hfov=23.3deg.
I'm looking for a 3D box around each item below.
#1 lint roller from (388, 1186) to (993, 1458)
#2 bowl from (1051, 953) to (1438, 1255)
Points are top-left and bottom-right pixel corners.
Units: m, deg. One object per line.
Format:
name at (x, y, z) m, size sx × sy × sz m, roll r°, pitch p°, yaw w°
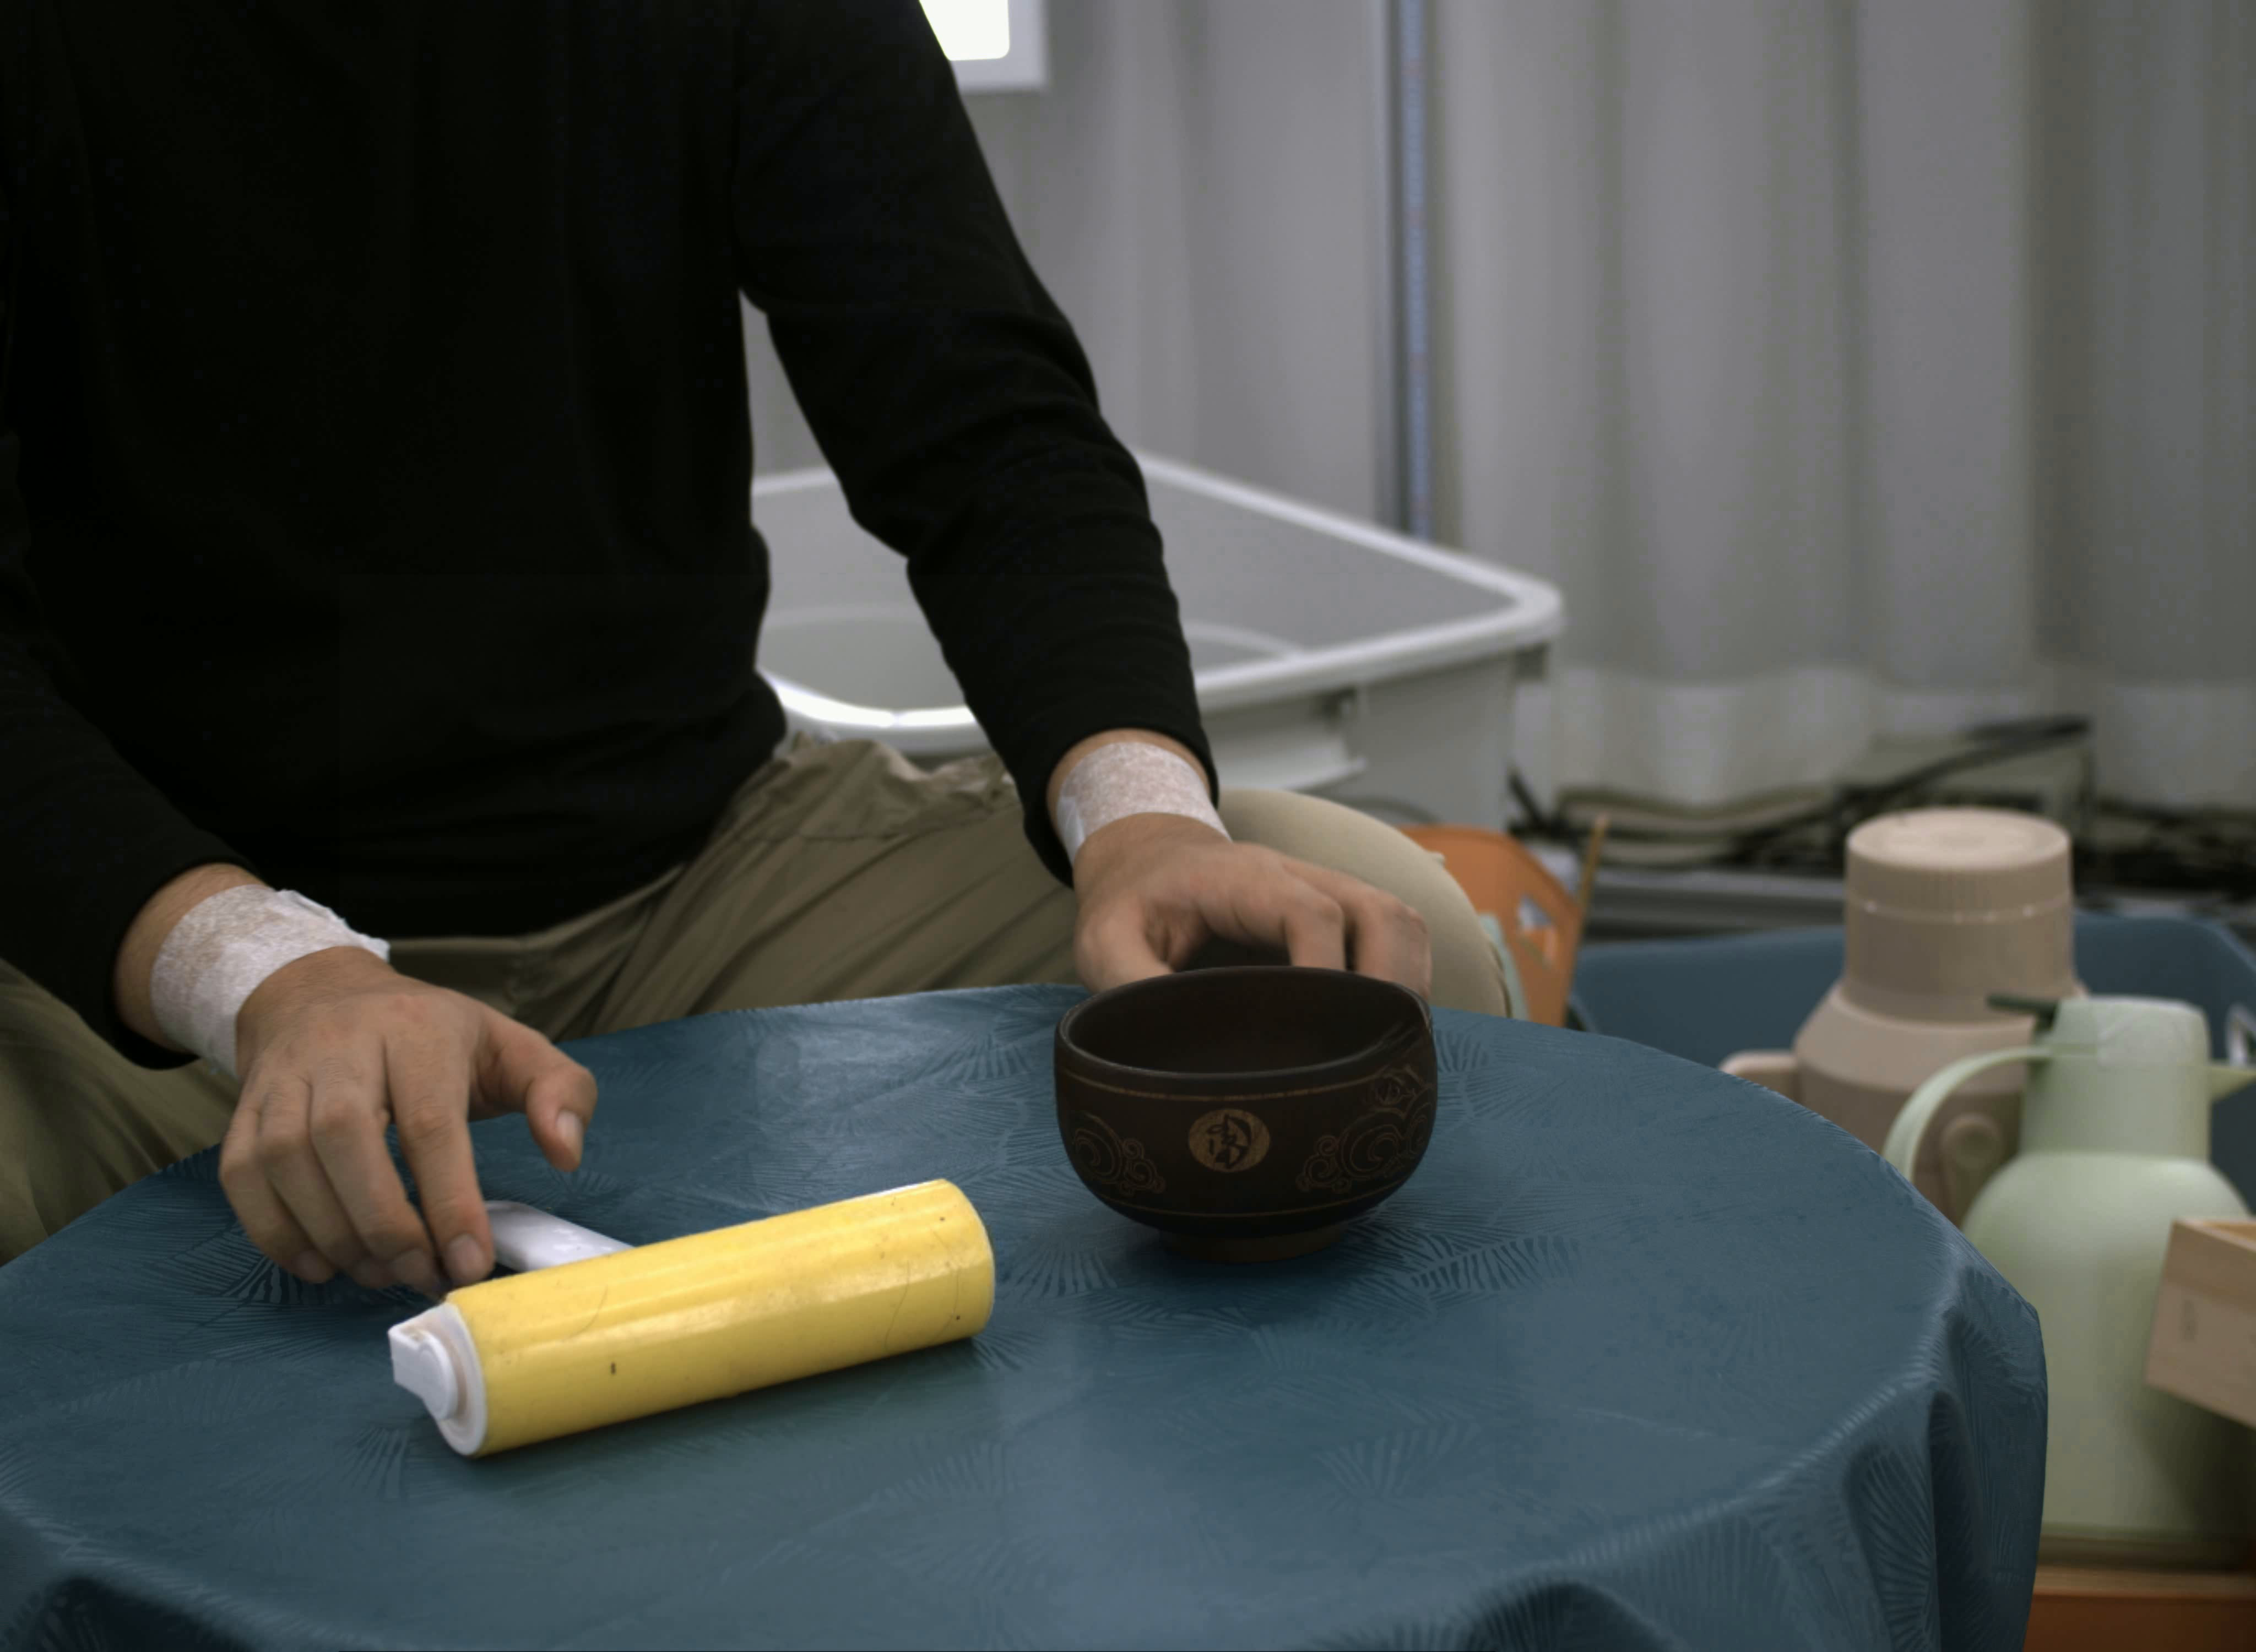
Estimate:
lint roller at (-0.157, 0.123, 1.612) m, size 0.173 × 0.051 × 0.194 m, roll -11°, pitch 21°, yaw -30°
bowl at (0.036, 0.088, 1.661) m, size 0.117 × 0.069 × 0.119 m, roll -2°, pitch 15°, yaw 0°
